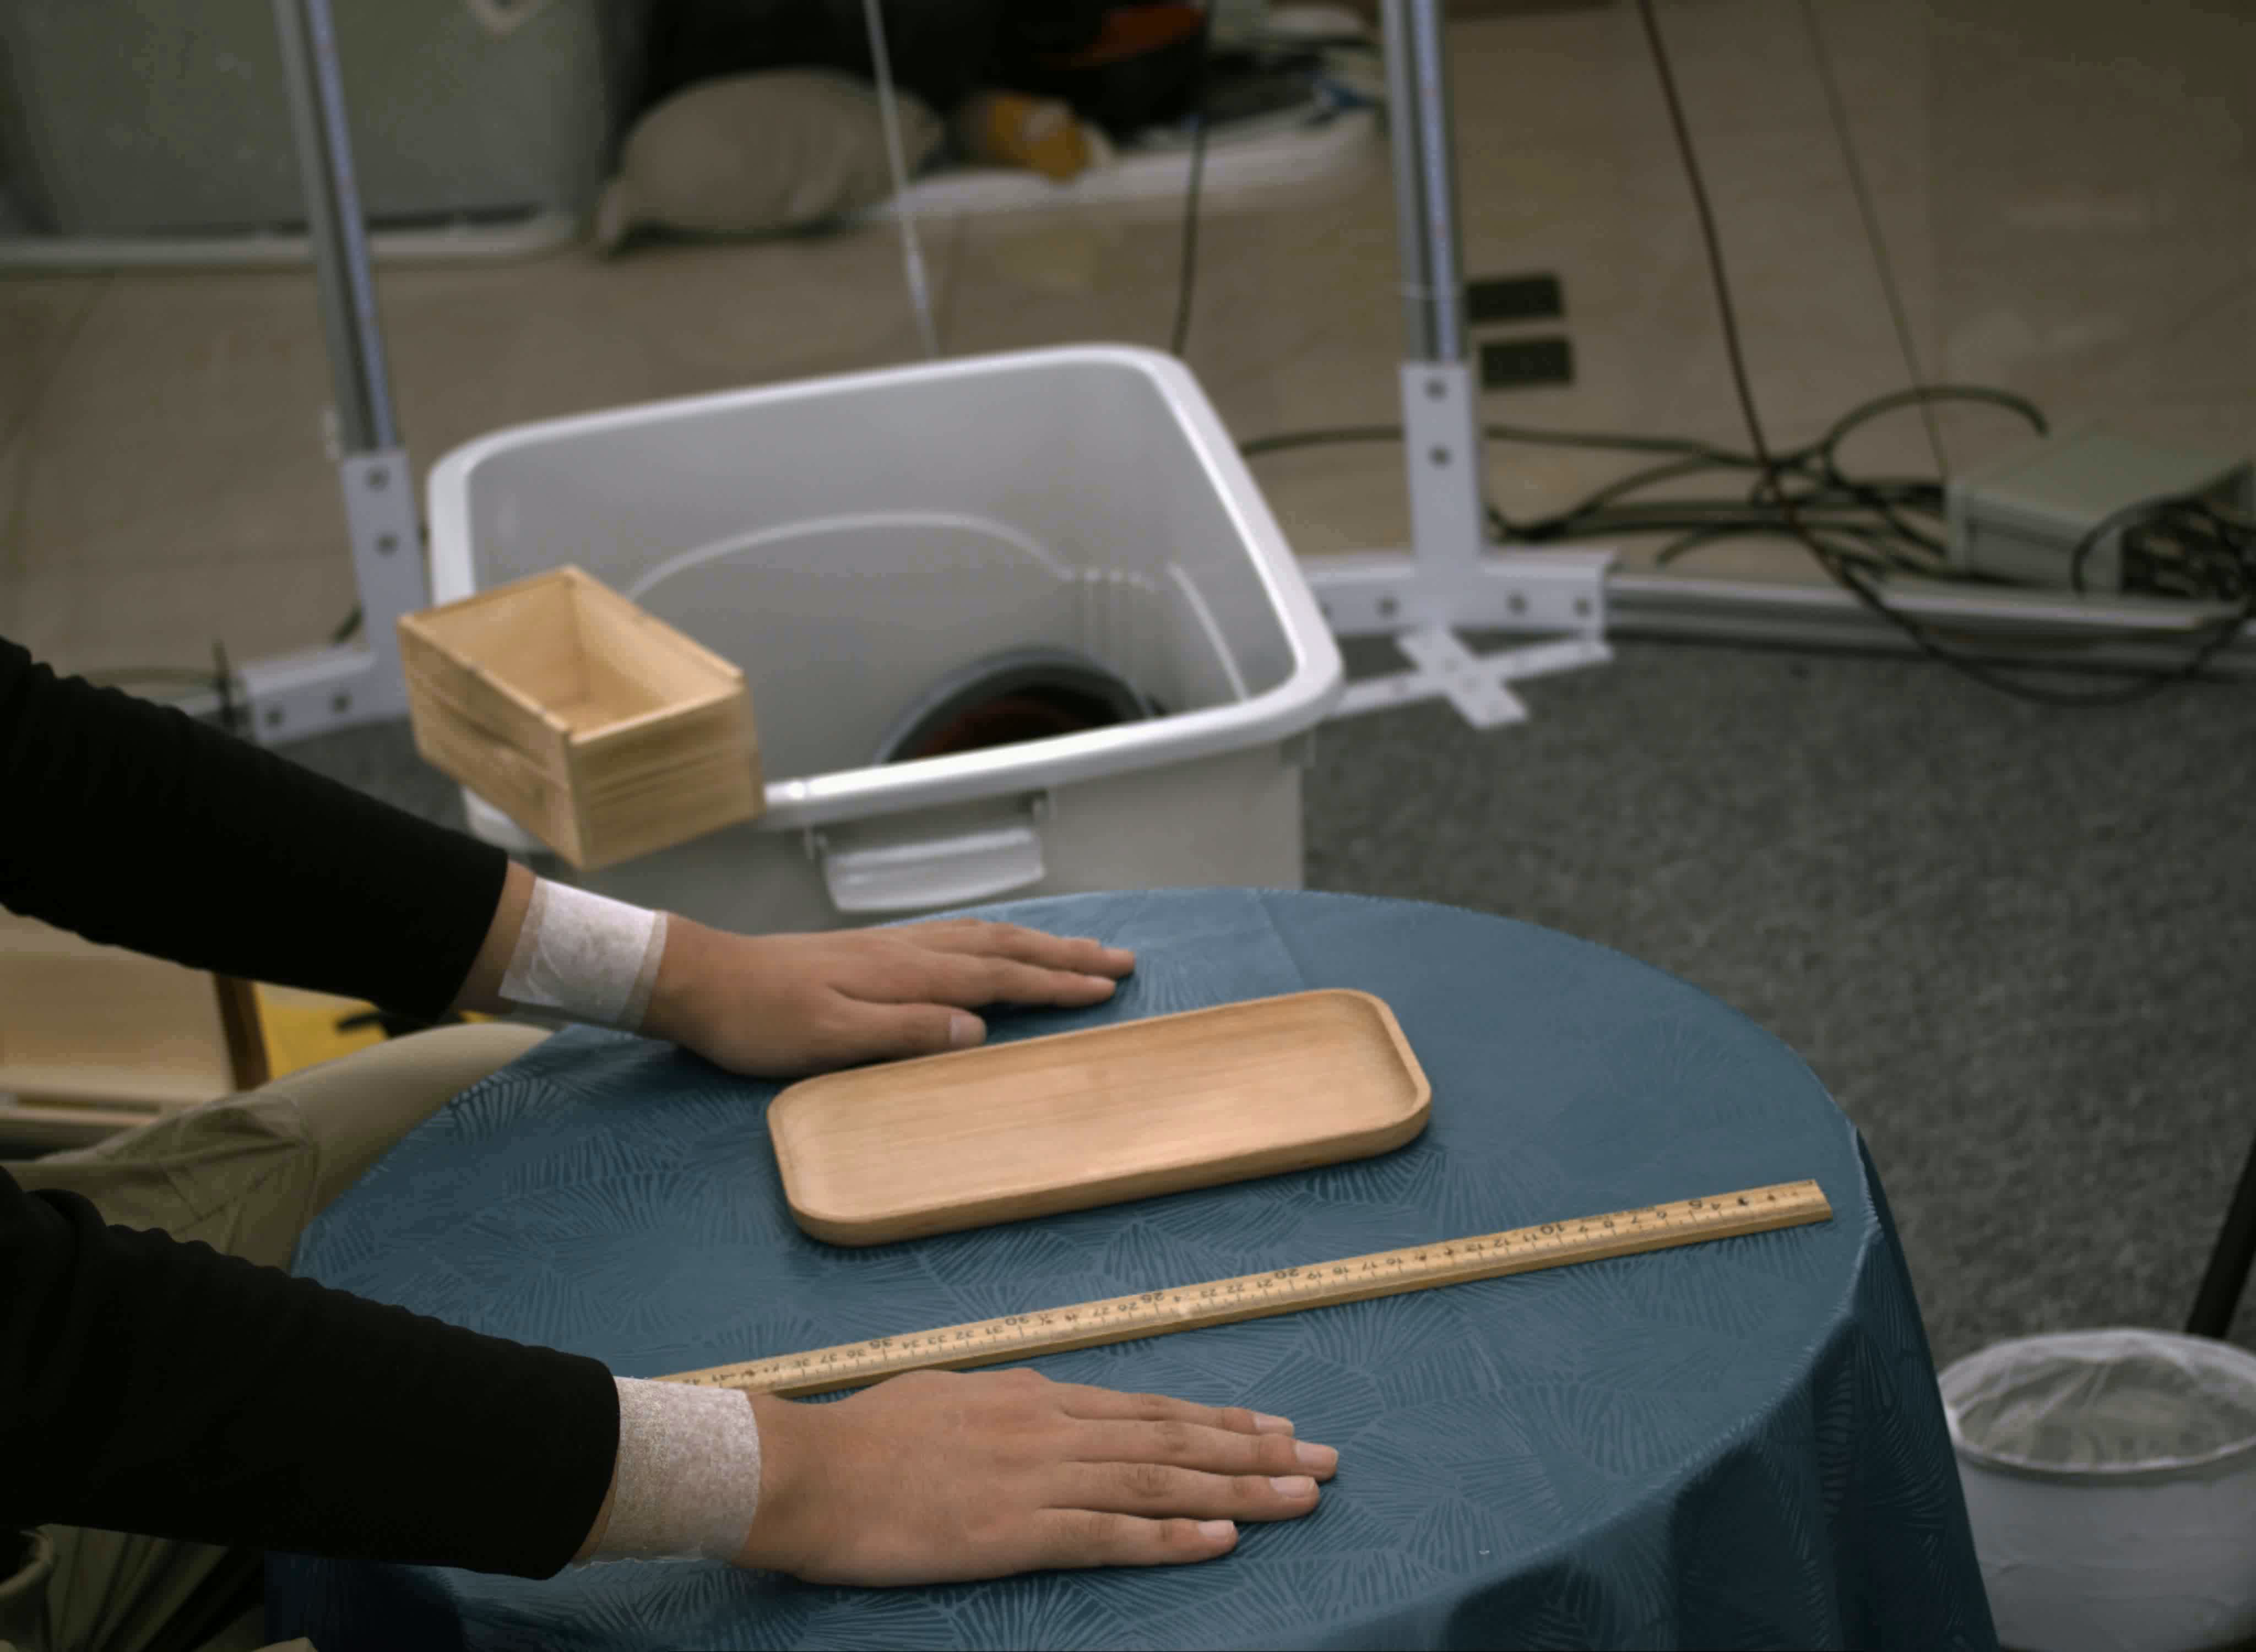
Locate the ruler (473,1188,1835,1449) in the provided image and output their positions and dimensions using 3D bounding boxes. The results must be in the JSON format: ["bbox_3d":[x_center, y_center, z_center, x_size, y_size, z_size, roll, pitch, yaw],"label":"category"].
[{"bbox_3d":[0.011,0.177,2.059,0.499,0.006,0.026,-9,22,-5],"label":"ruler"}]

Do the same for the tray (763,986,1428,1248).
[{"bbox_3d":[-0.013,0.112,2.190,0.250,0.023,0.129,-10,23,-5],"label":"tray"}]
